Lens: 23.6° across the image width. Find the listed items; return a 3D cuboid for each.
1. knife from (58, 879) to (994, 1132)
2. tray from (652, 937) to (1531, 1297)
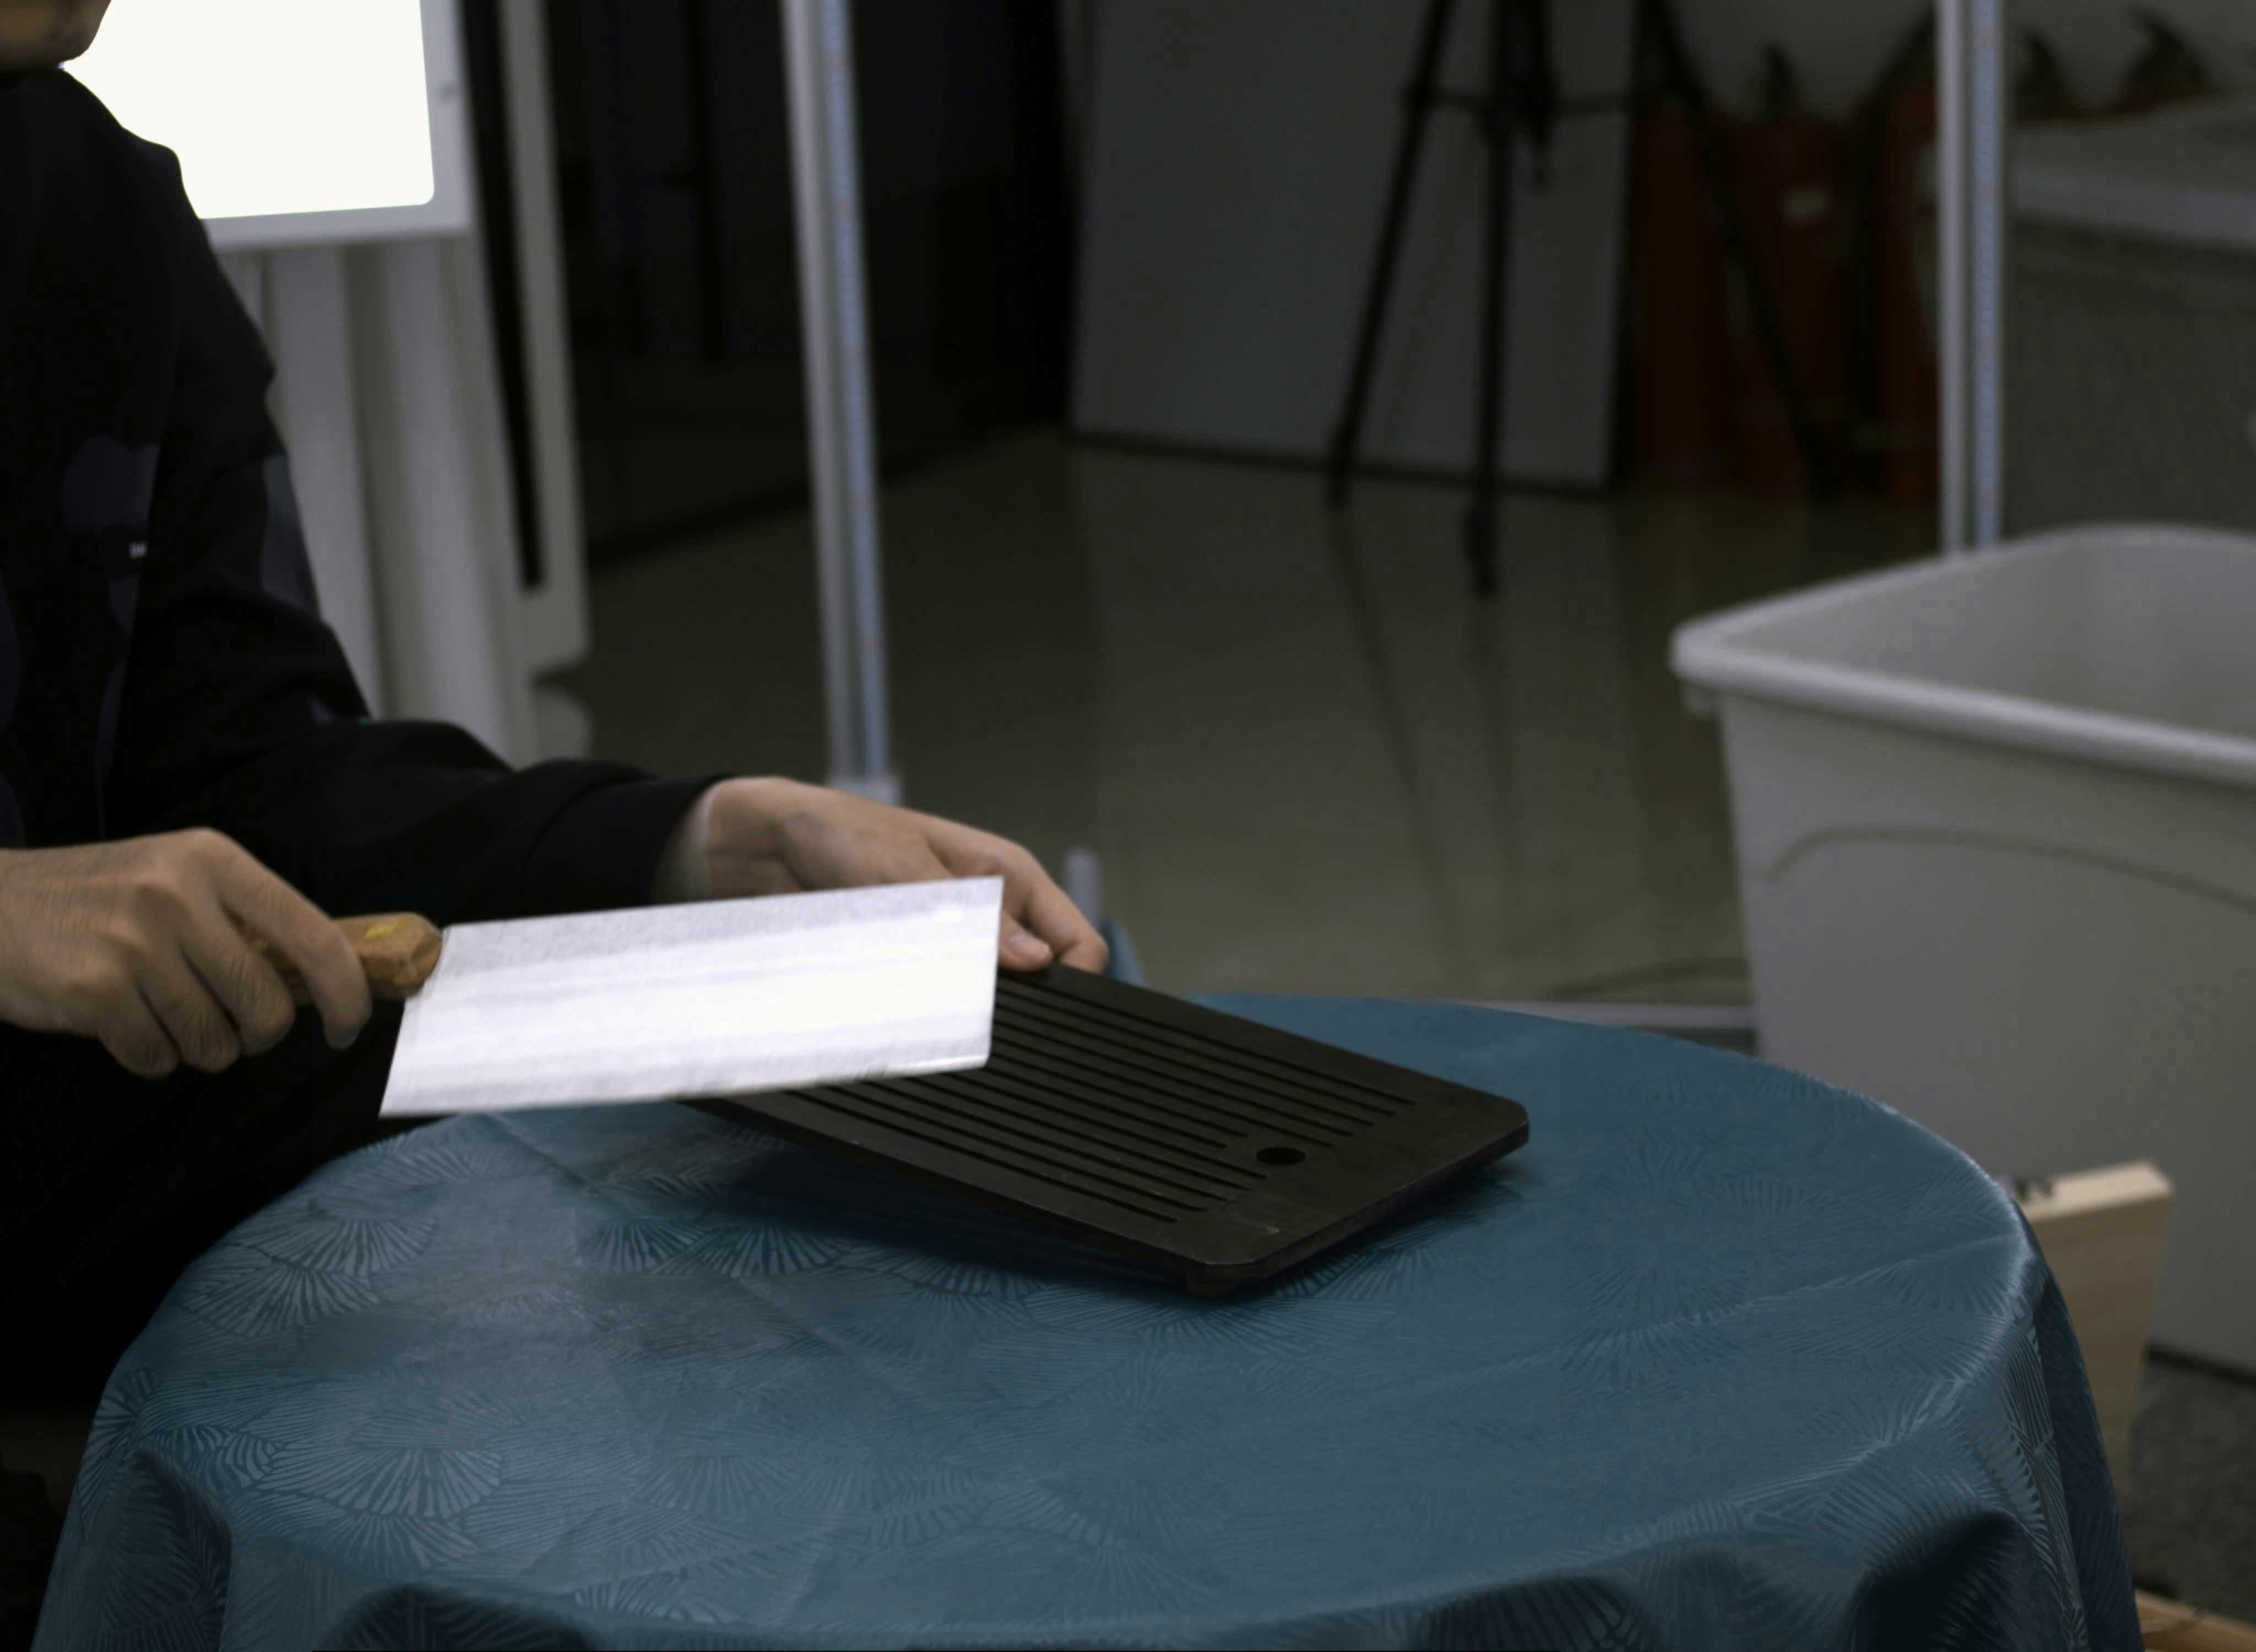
[{"bbox_3d":[-0.189,0.059,1.670,0.303,0.021,0.093,-6,39,10],"label":"knife"},{"bbox_3d":[-0.031,0.090,1.801,0.308,0.019,0.167,15,25,38],"label":"tray"}]
